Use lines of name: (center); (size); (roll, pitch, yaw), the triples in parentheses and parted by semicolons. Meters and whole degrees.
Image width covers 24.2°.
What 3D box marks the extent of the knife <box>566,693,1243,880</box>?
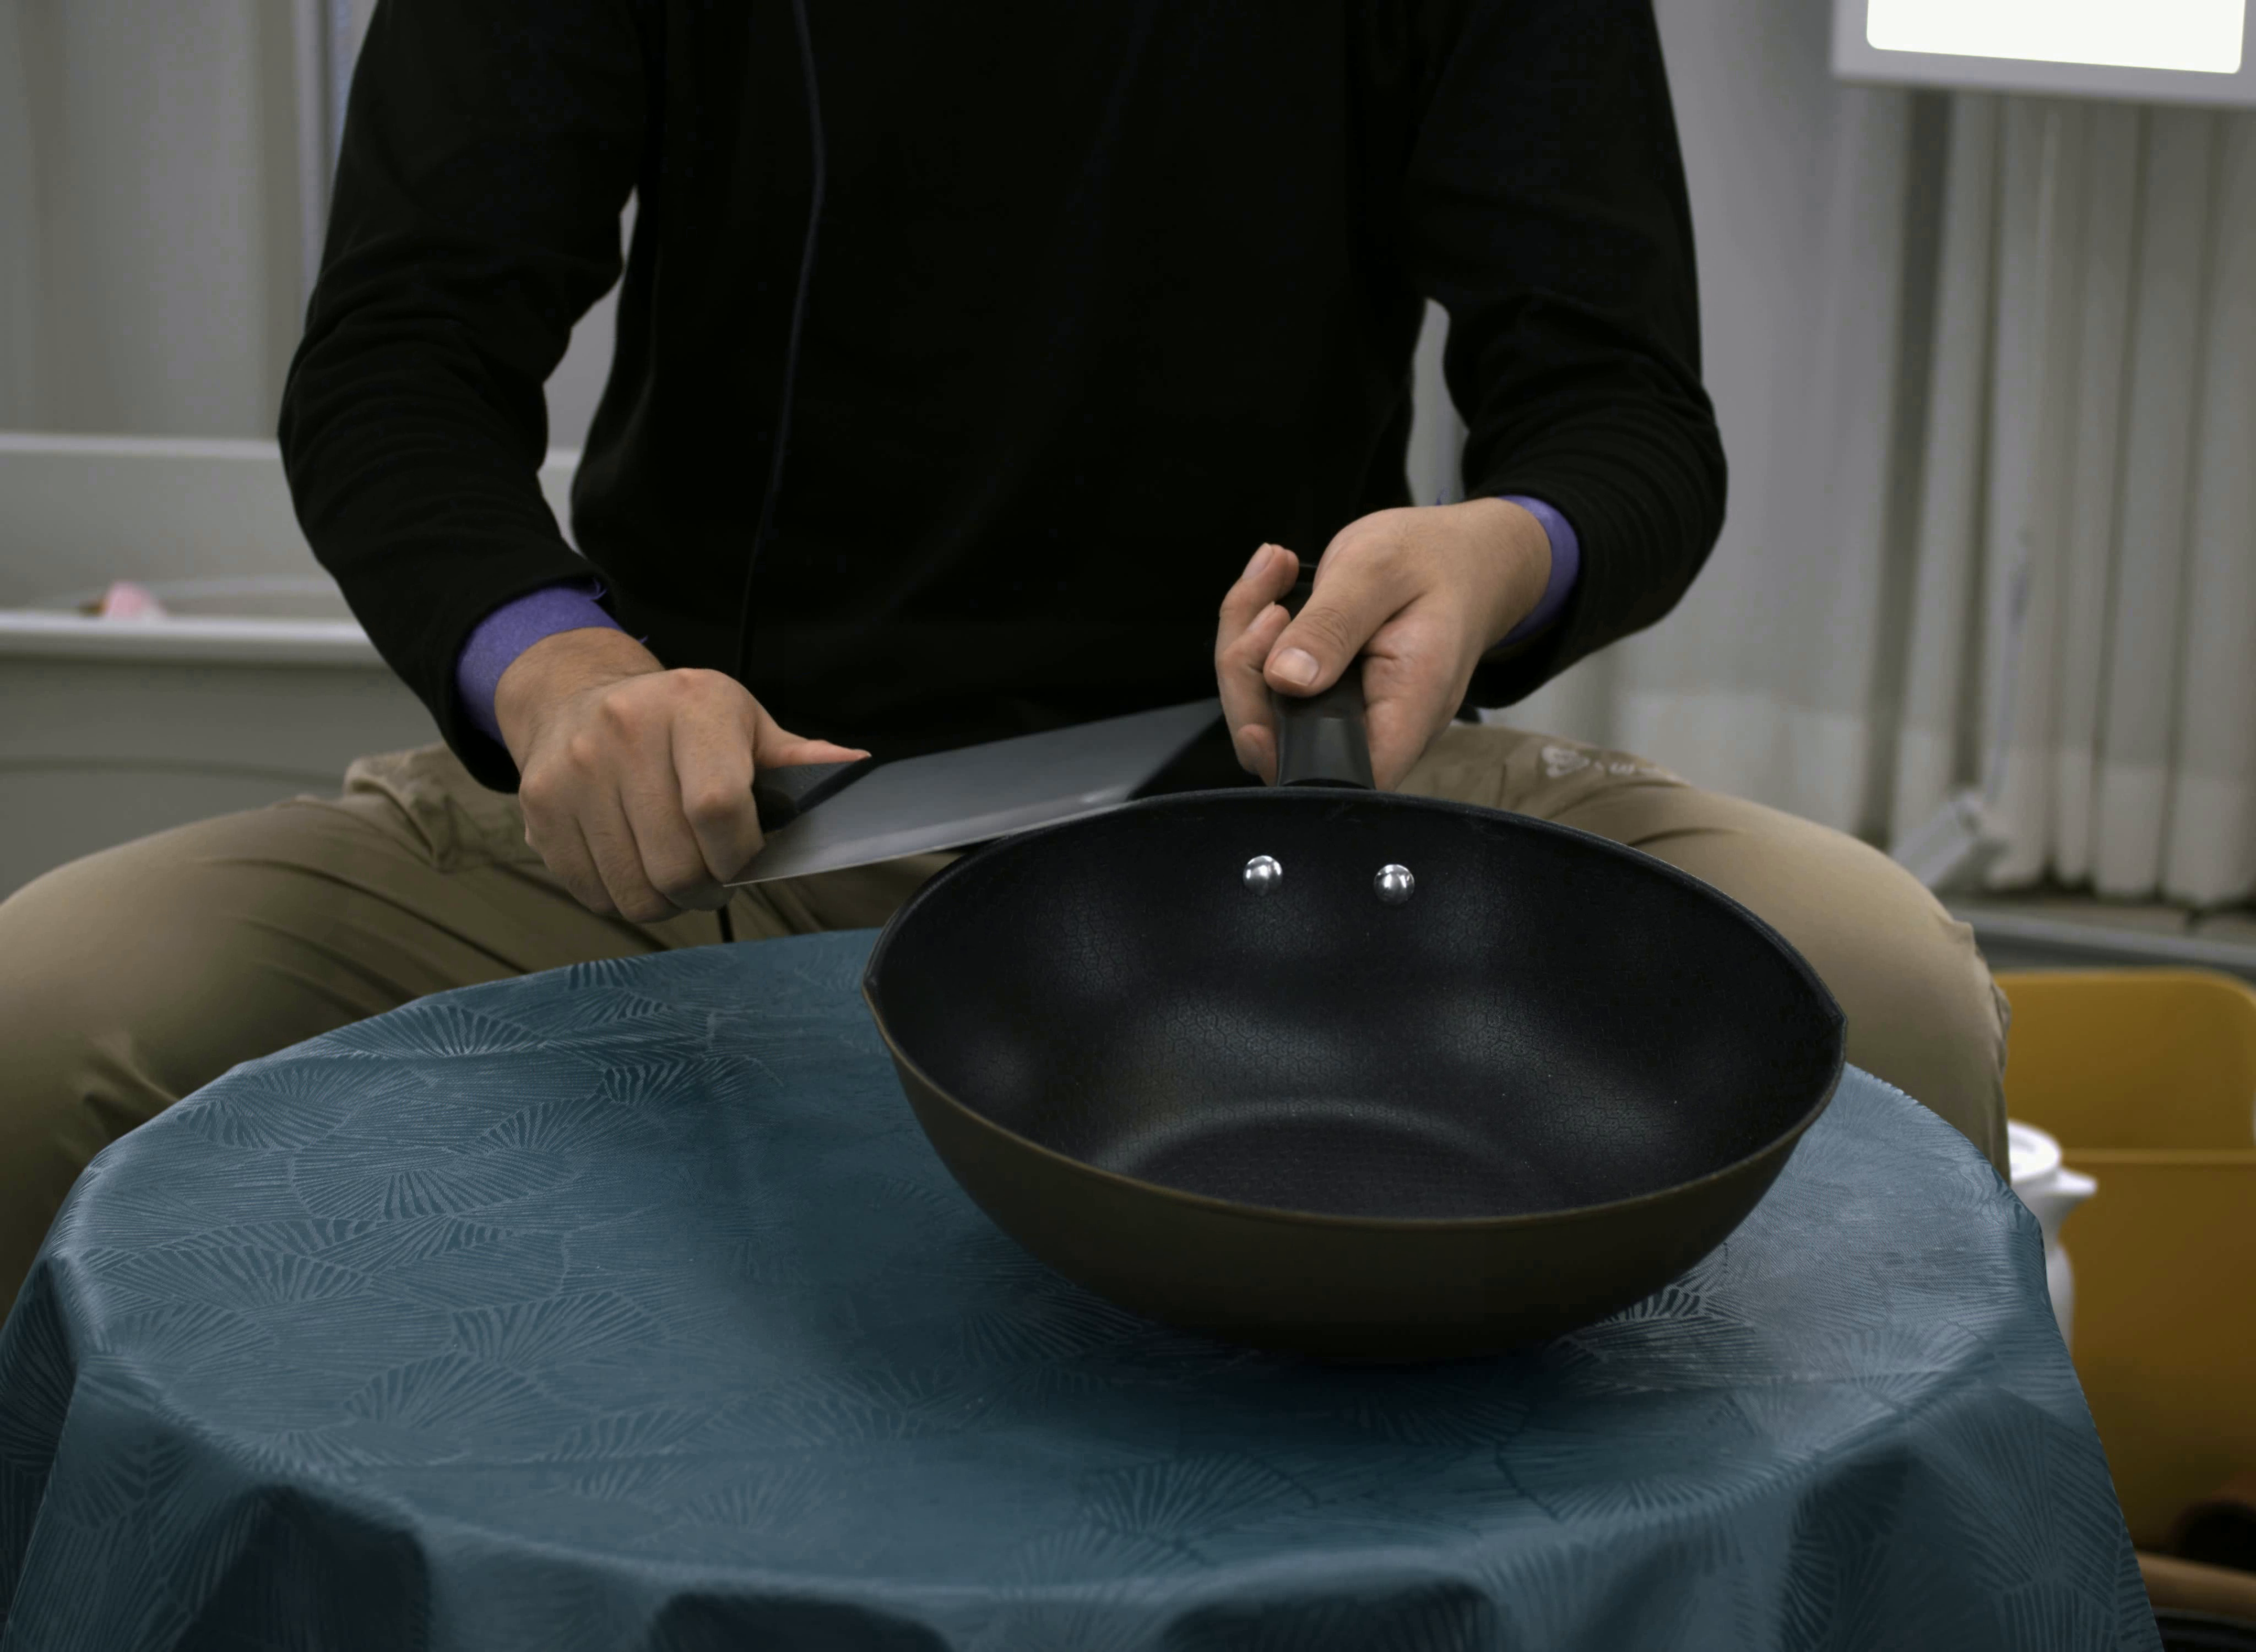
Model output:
knife: (-0.081, -0.006, 1.628); (0.299, 0.021, 0.081); (-7, 27, 50)

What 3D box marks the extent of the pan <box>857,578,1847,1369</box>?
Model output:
pan: (0.062, 0.044, 1.618); (0.287, 0.088, 0.459); (3, 25, -3)
